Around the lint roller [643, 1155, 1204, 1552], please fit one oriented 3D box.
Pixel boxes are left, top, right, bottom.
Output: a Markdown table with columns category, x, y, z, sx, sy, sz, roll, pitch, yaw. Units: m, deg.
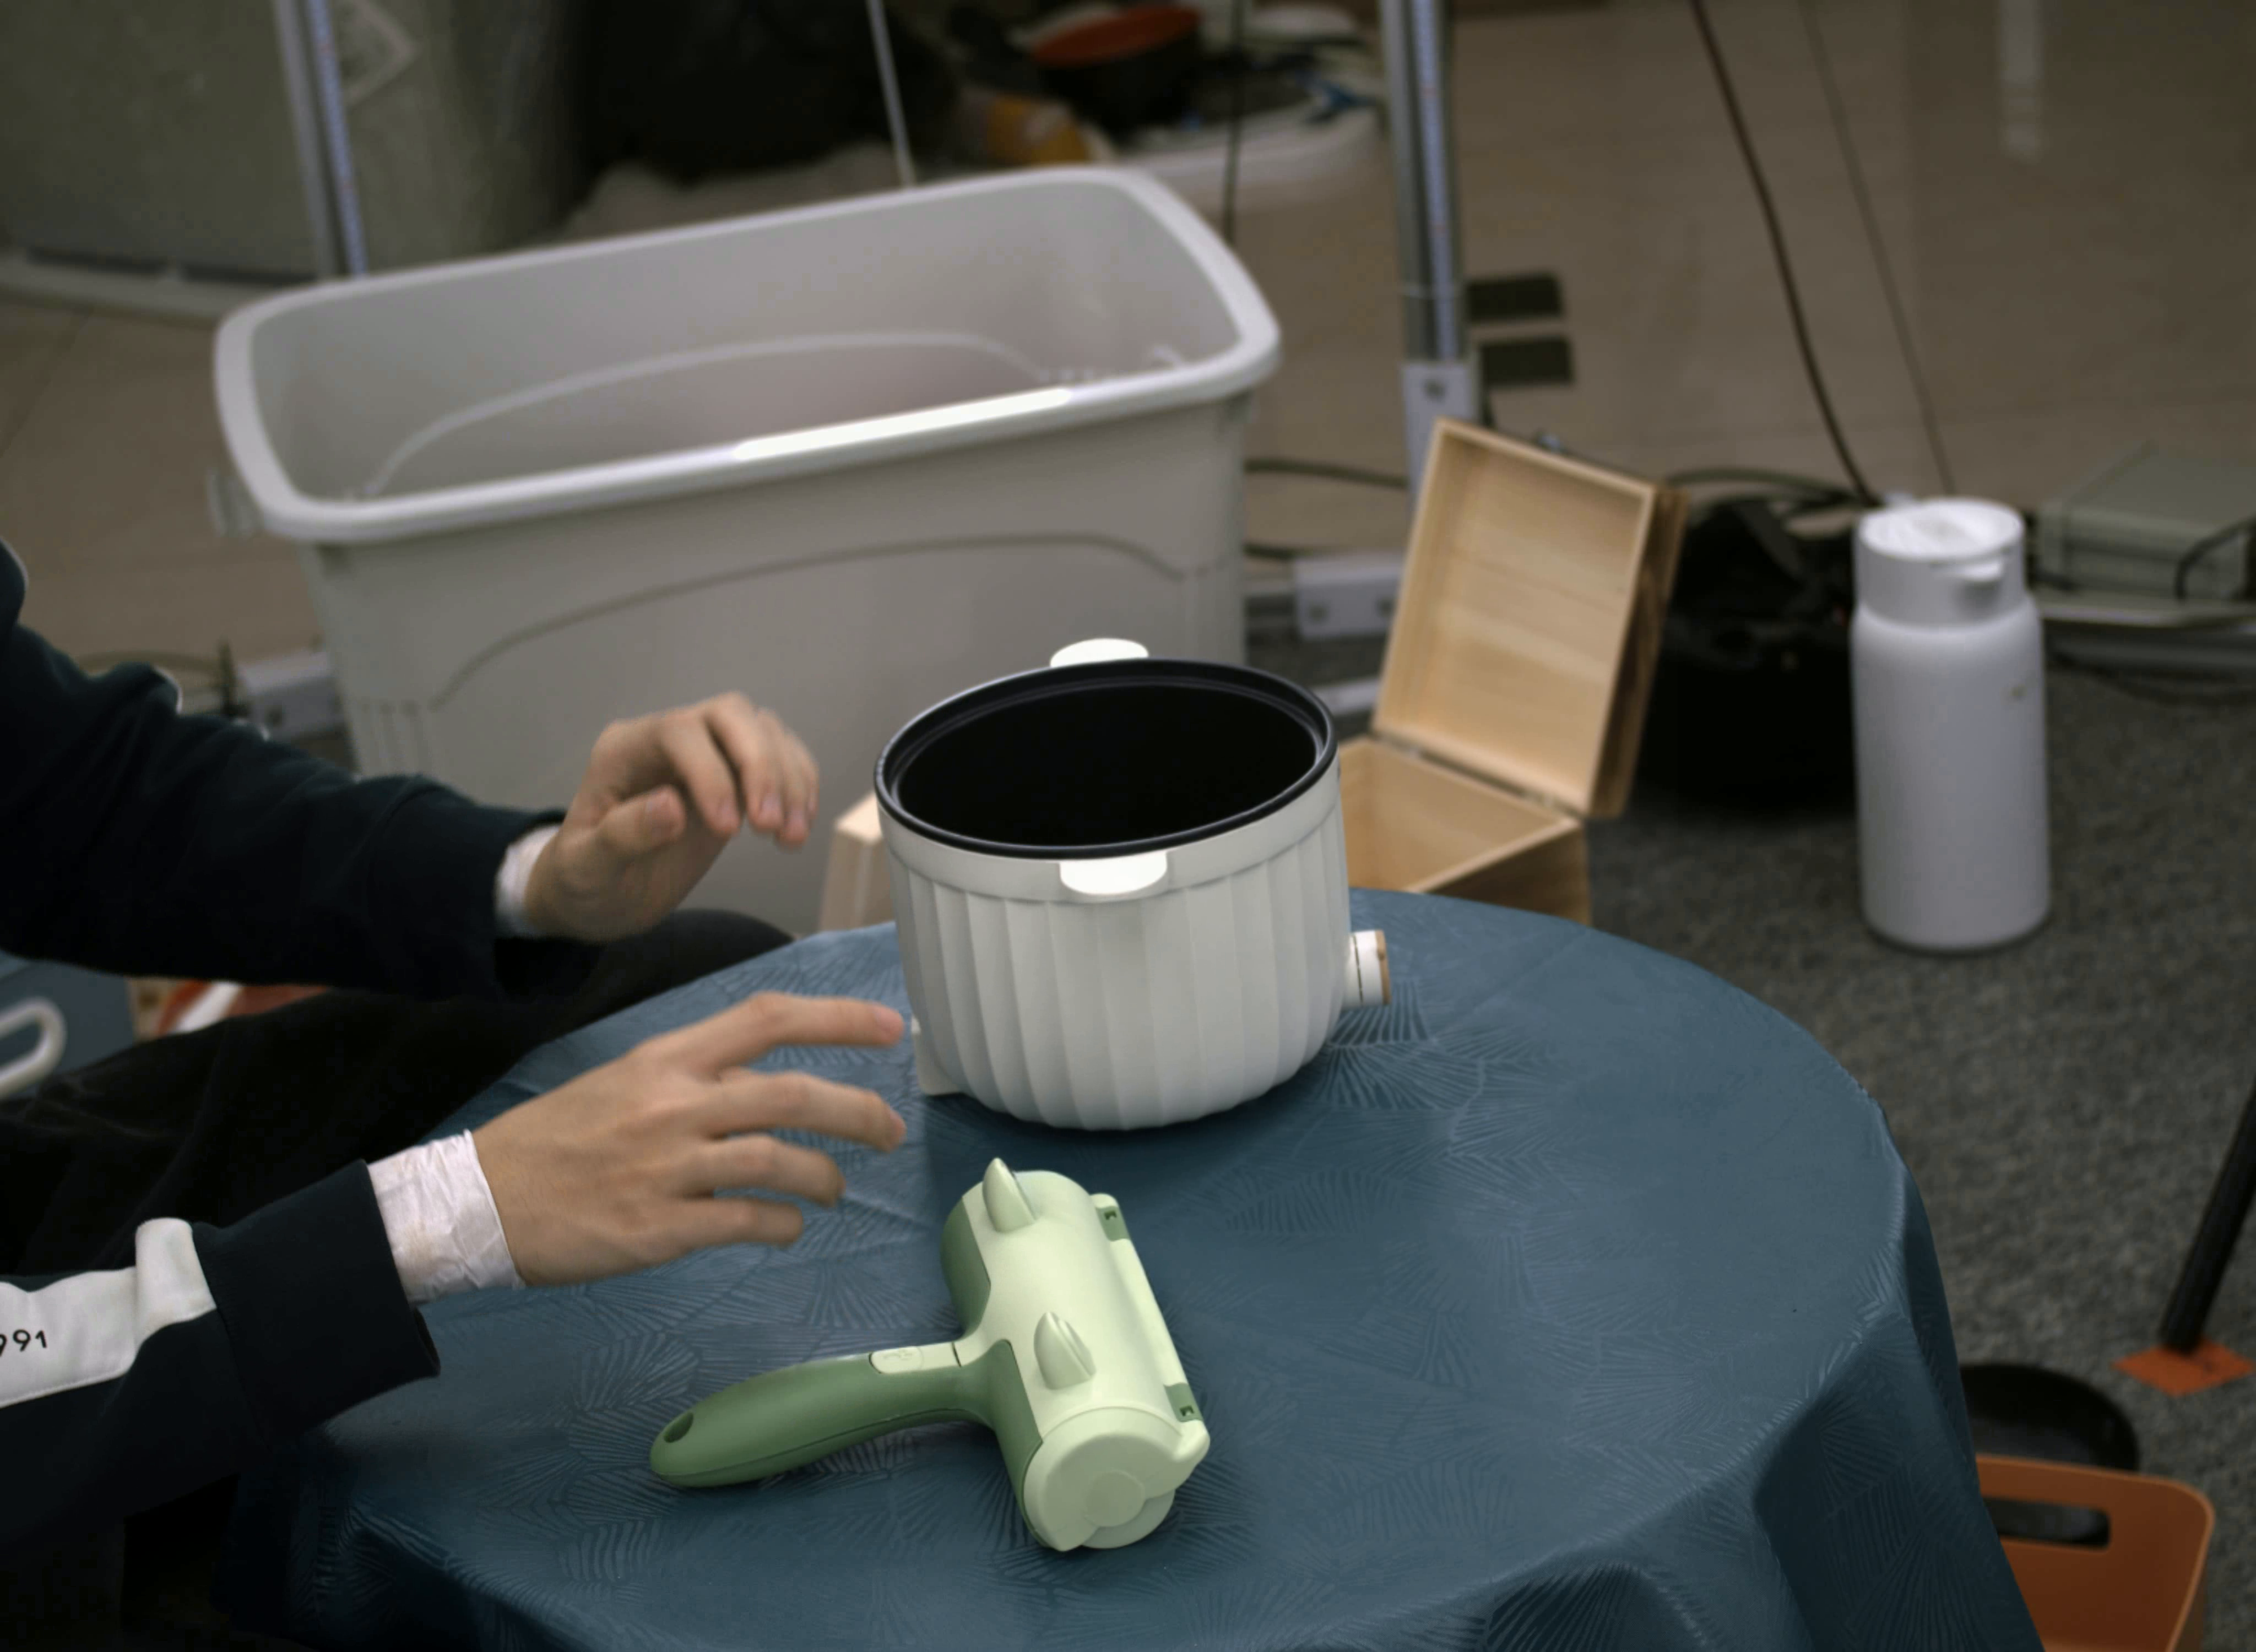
| category | x | y | z | sx | sy | sz | roll | pitch | yaw |
| --- | --- | --- | --- | --- | --- | --- | --- | --- | --- |
| lint roller | -0.079 | 0.182 | 1.980 | 0.183 | 0.083 | 0.196 | -5 | 25 | -9 |

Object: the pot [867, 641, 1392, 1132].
| category | x | y | z | sx | sy | sz | roll | pitch | yaw |
| --- | --- | --- | --- | --- | --- | --- | --- | --- | --- |
| pot | 0.002 | 0.030 | 2.212 | 0.190 | 0.145 | 0.237 | -9 | 26 | 2 |
